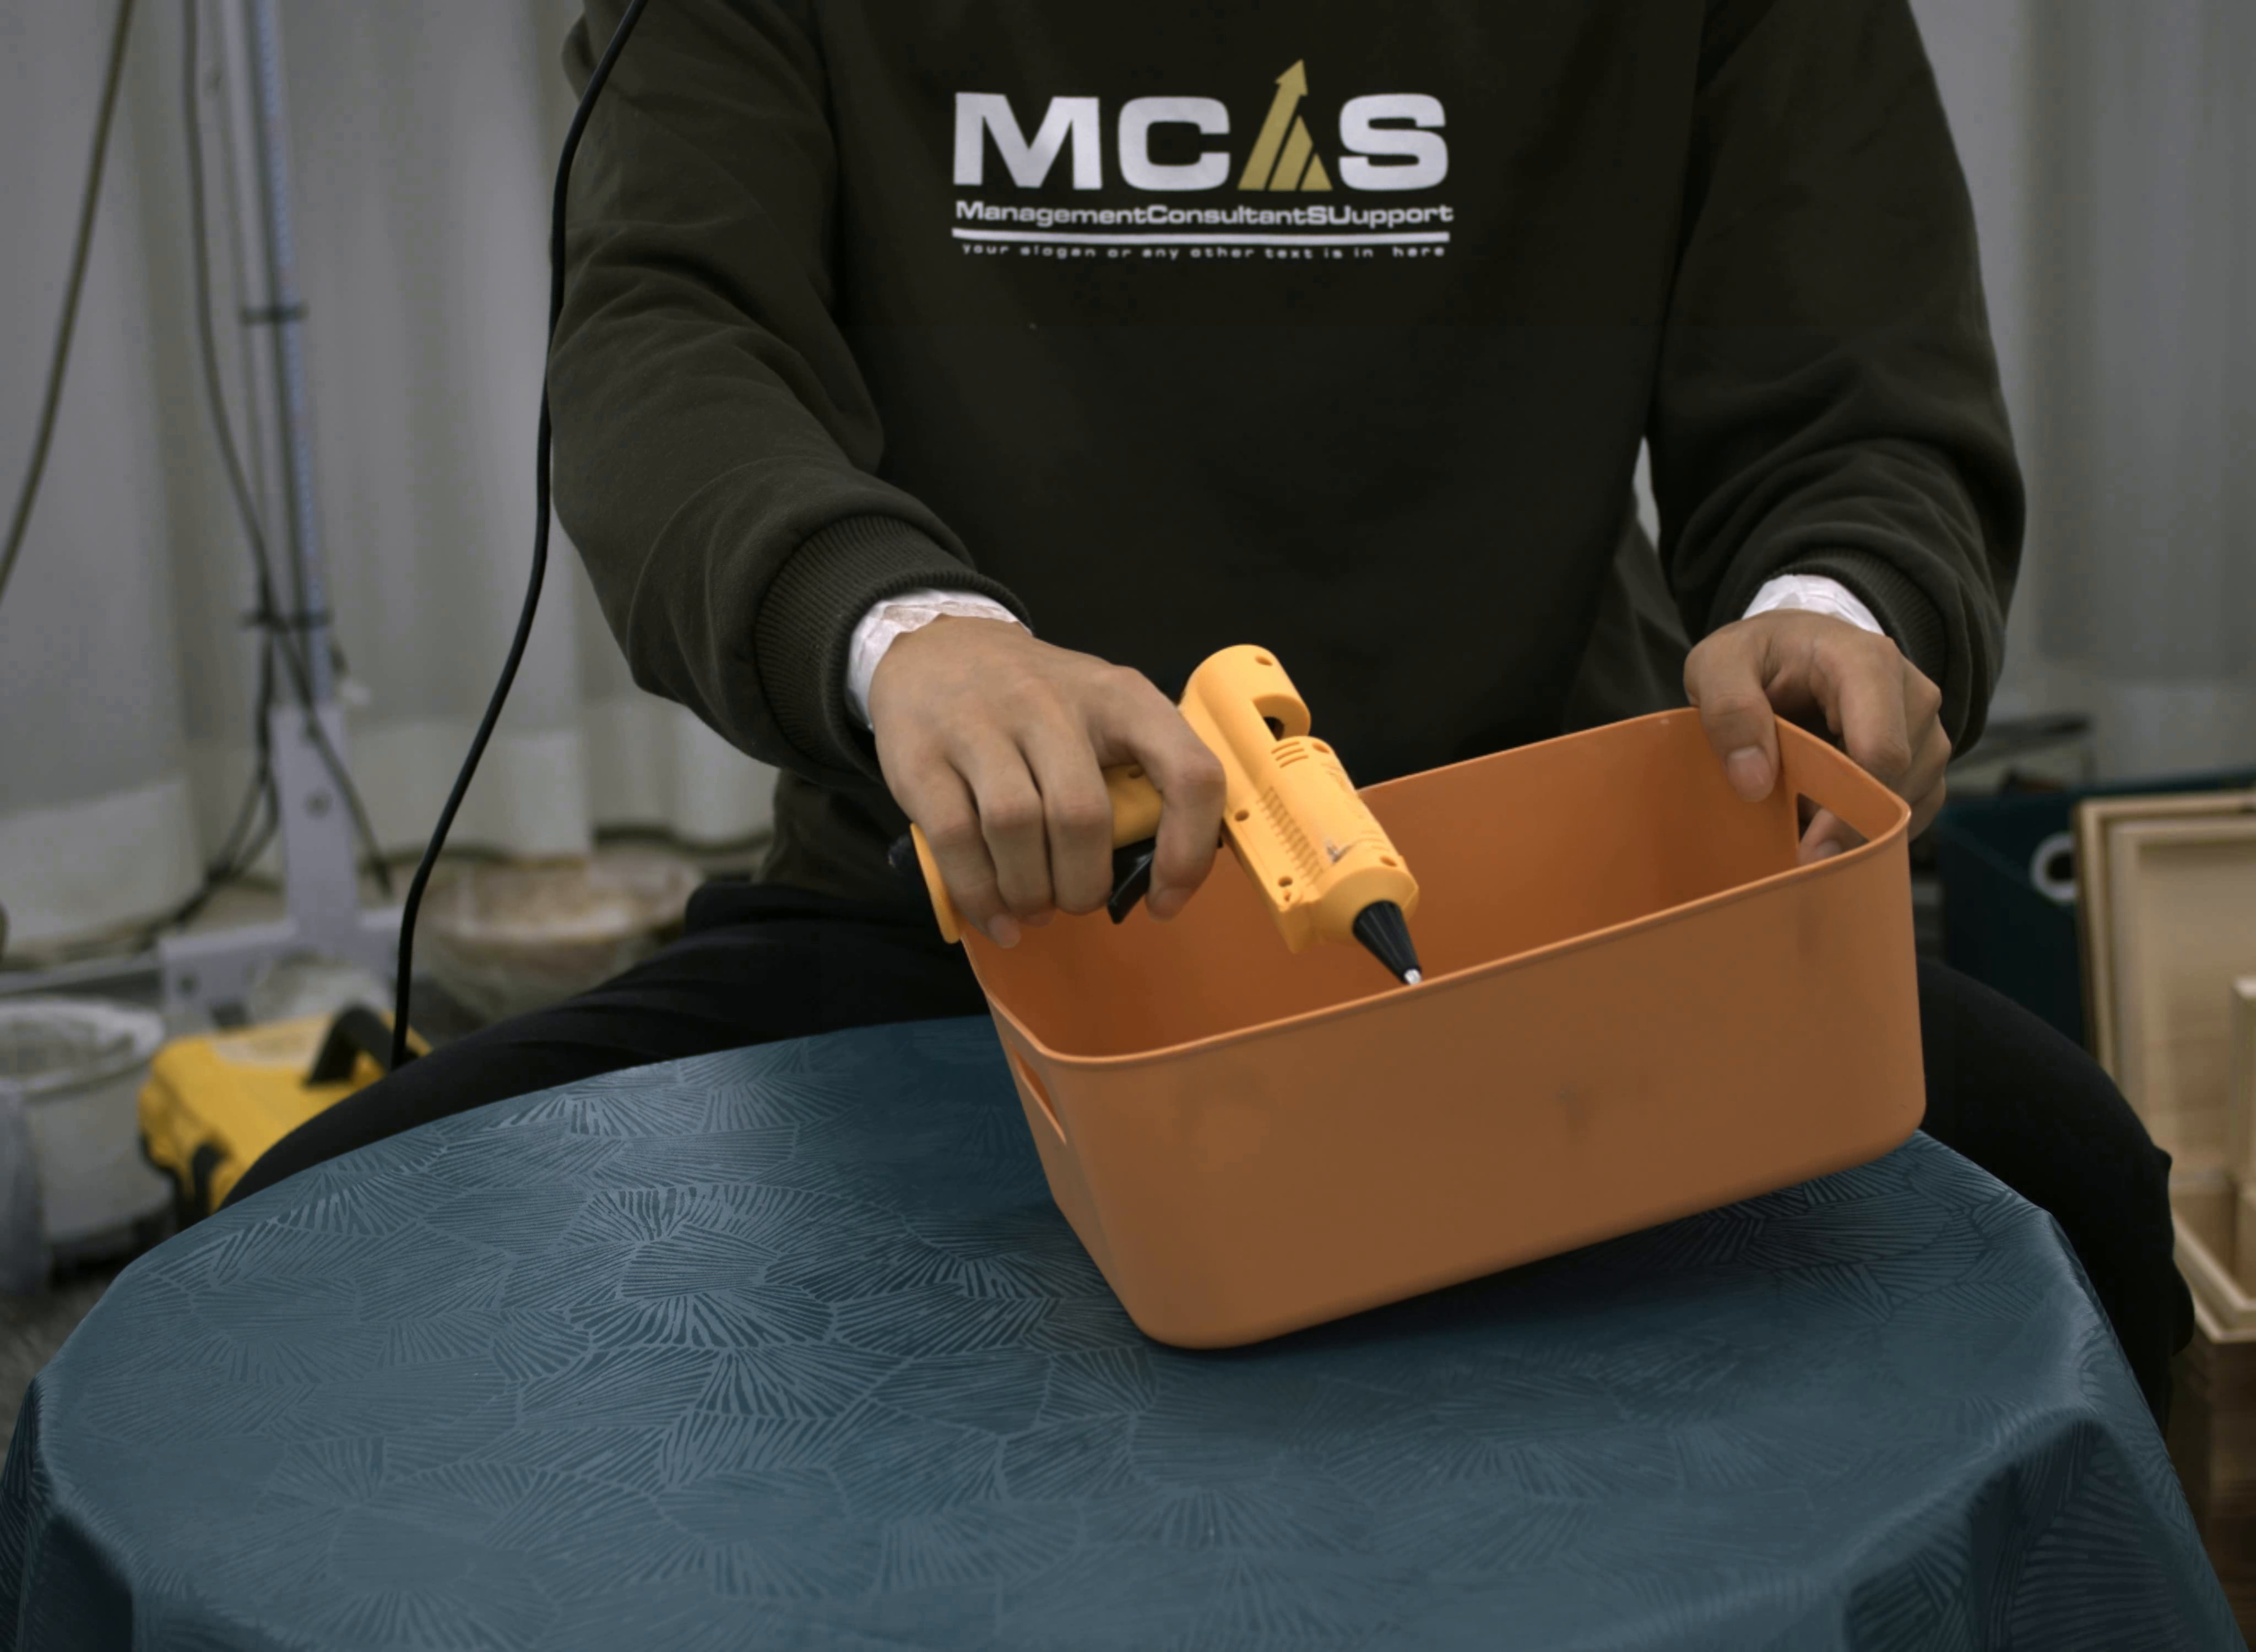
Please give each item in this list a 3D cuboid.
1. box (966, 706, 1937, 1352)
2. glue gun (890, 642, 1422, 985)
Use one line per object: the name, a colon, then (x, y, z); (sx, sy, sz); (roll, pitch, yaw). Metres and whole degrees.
box: (0.099, 0.060, 1.646); (0.272, 0.102, 0.201); (-16, 16, -9)
glue gun: (0.016, 0.019, 1.587); (0.133, 0.030, 0.153); (-27, 43, -9)
